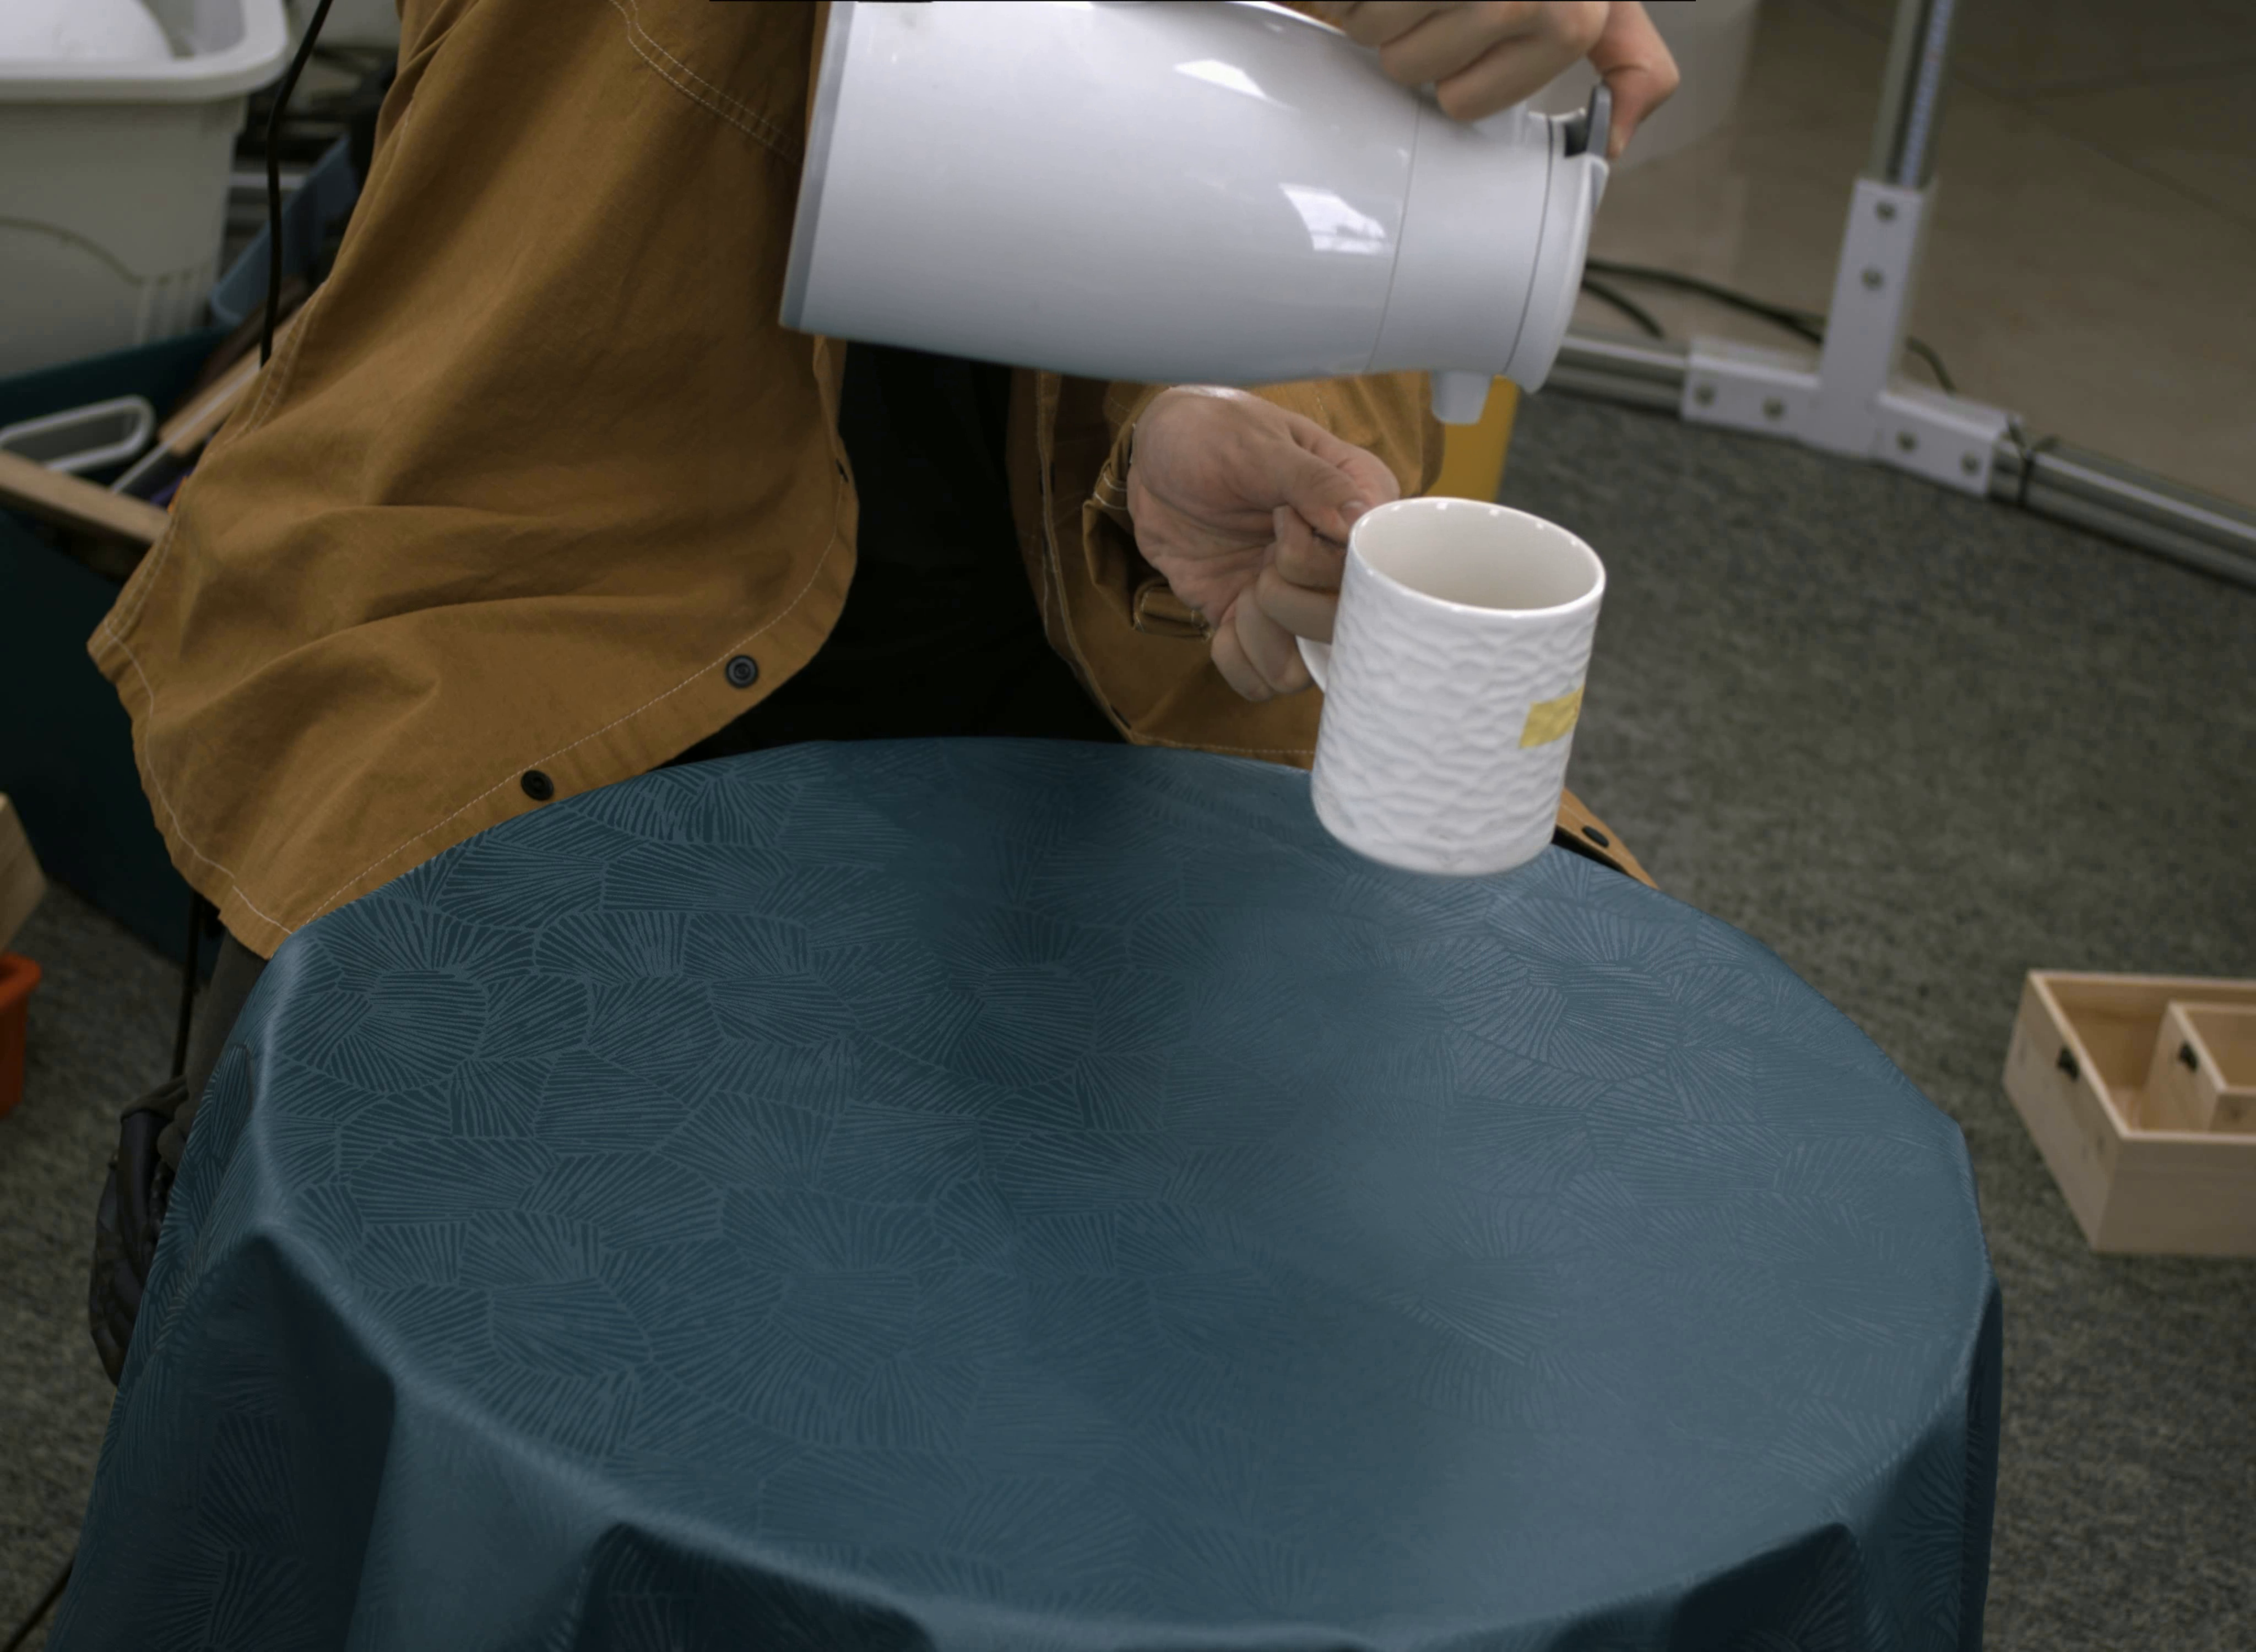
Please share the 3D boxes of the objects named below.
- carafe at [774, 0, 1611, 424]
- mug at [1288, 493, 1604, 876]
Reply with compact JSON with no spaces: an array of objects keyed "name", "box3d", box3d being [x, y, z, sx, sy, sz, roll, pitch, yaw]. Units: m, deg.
[{"name":"carafe","box3d":[0.024,-0.216,1.669,0.248,0.167,0.133,10,35,-2]},{"name":"mug","box3d":[0.097,-0.053,1.773,0.084,0.101,0.119,-16,37,-39]}]
